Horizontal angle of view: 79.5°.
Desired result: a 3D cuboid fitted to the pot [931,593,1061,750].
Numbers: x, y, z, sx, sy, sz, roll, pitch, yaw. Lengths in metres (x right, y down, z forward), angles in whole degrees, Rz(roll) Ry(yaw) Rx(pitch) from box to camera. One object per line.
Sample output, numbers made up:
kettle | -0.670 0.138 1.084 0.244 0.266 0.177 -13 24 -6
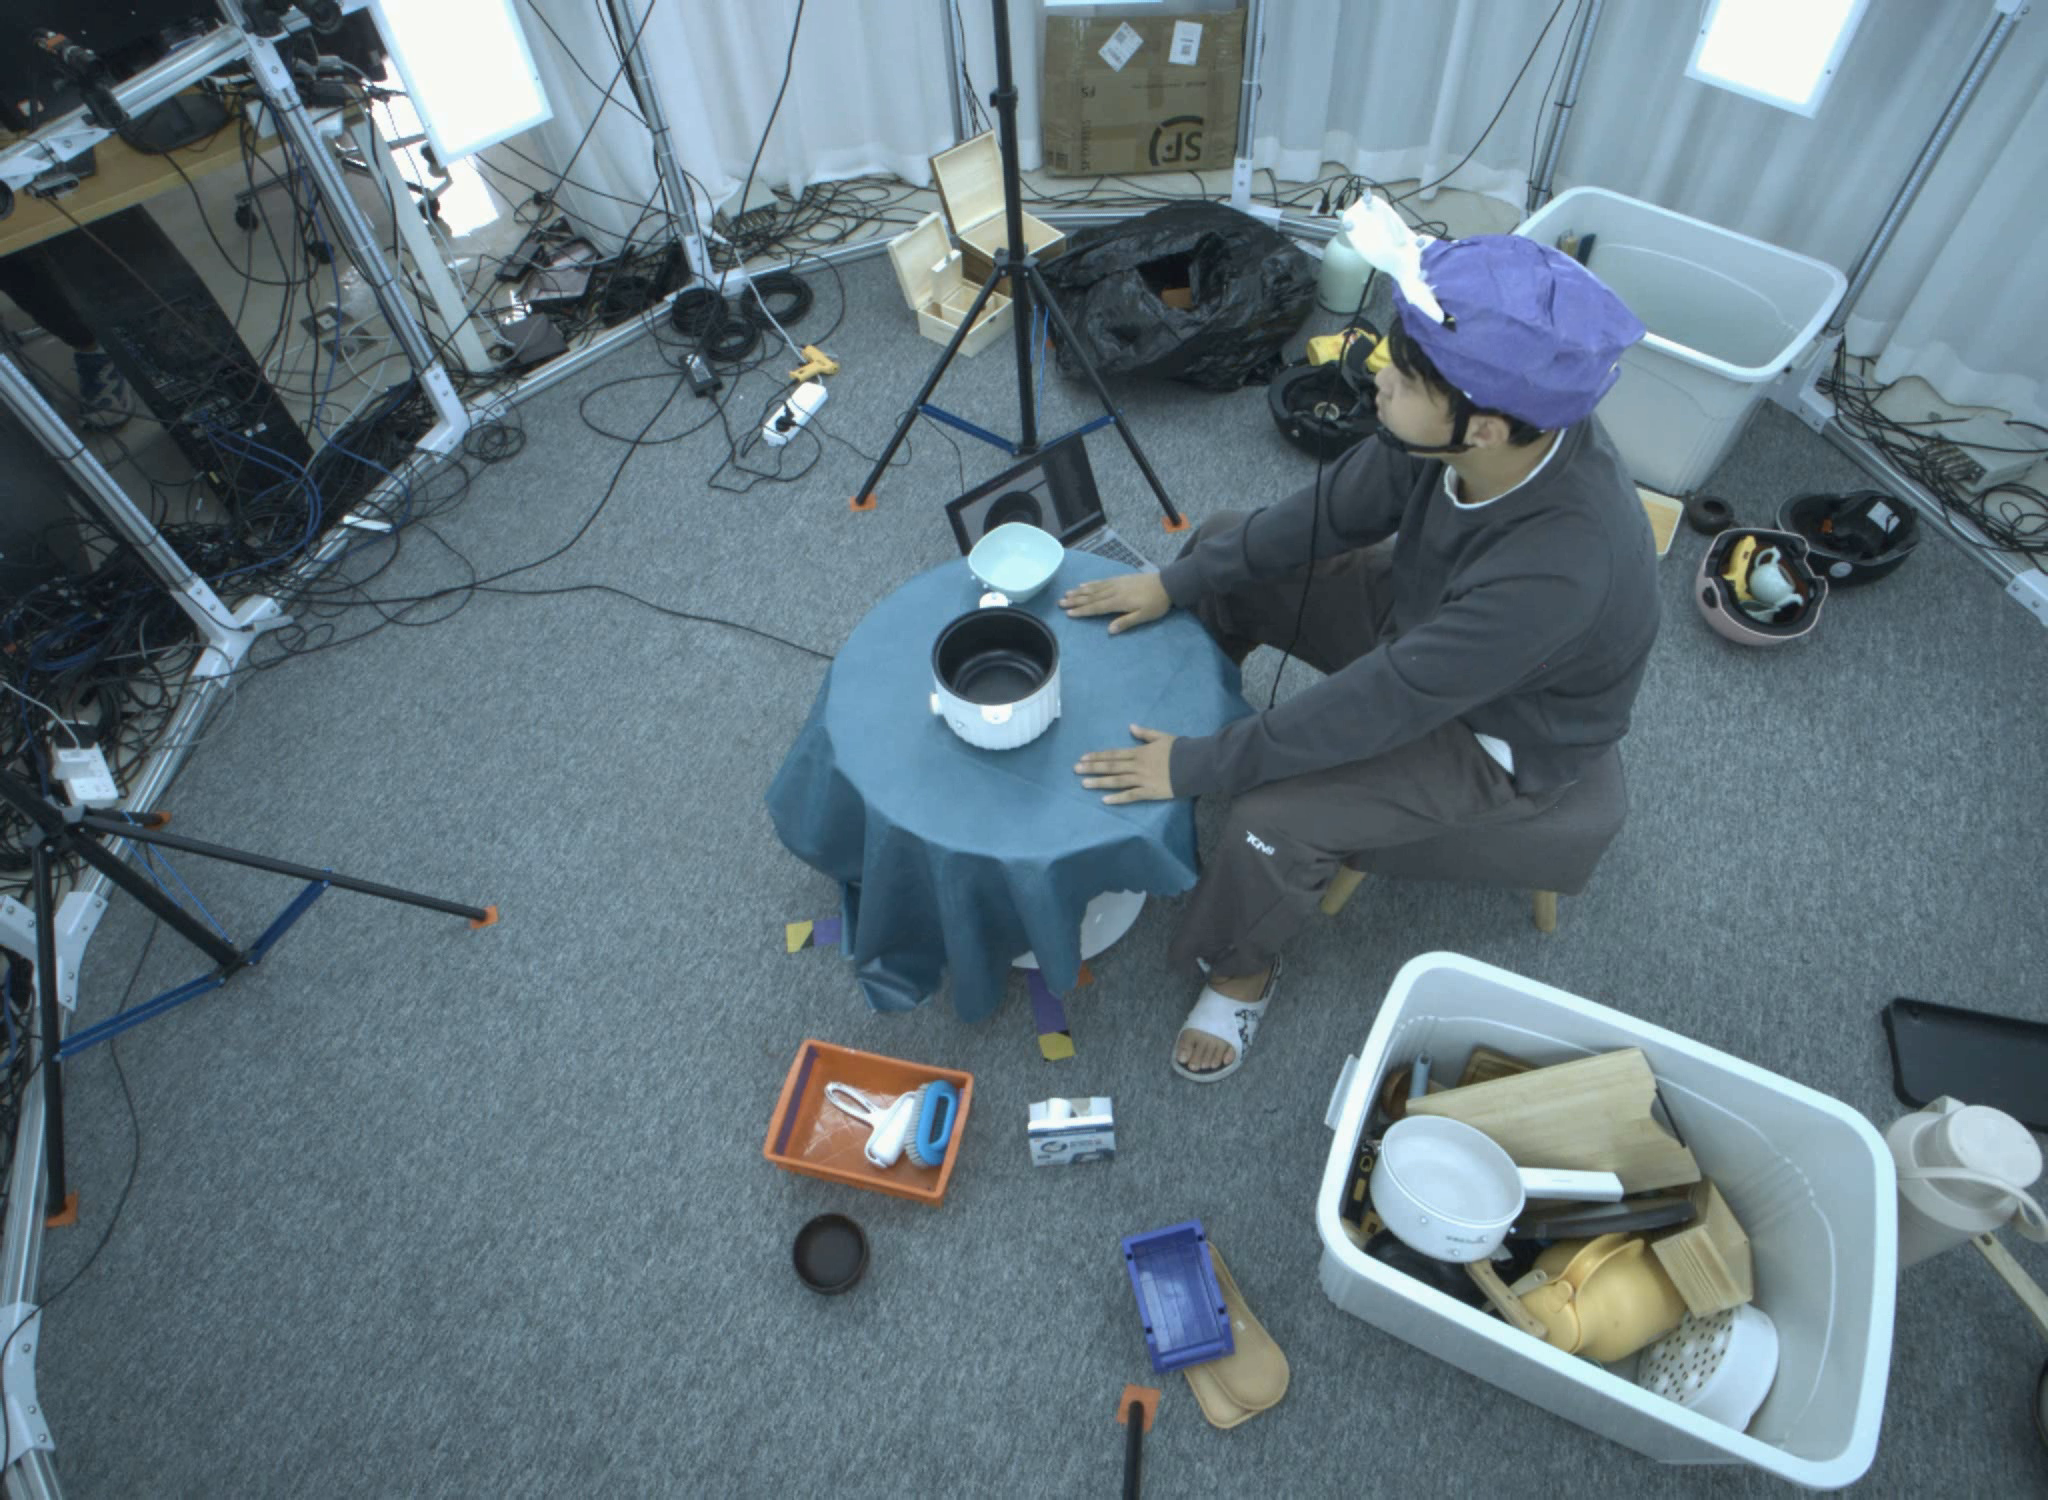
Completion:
pot | -0.041 -0.095 1.769 0.191 0.144 0.237 -3 53 -4

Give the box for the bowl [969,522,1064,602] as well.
bowl | -0.011 -0.291 1.959 0.151 0.059 0.150 -1 56 2
